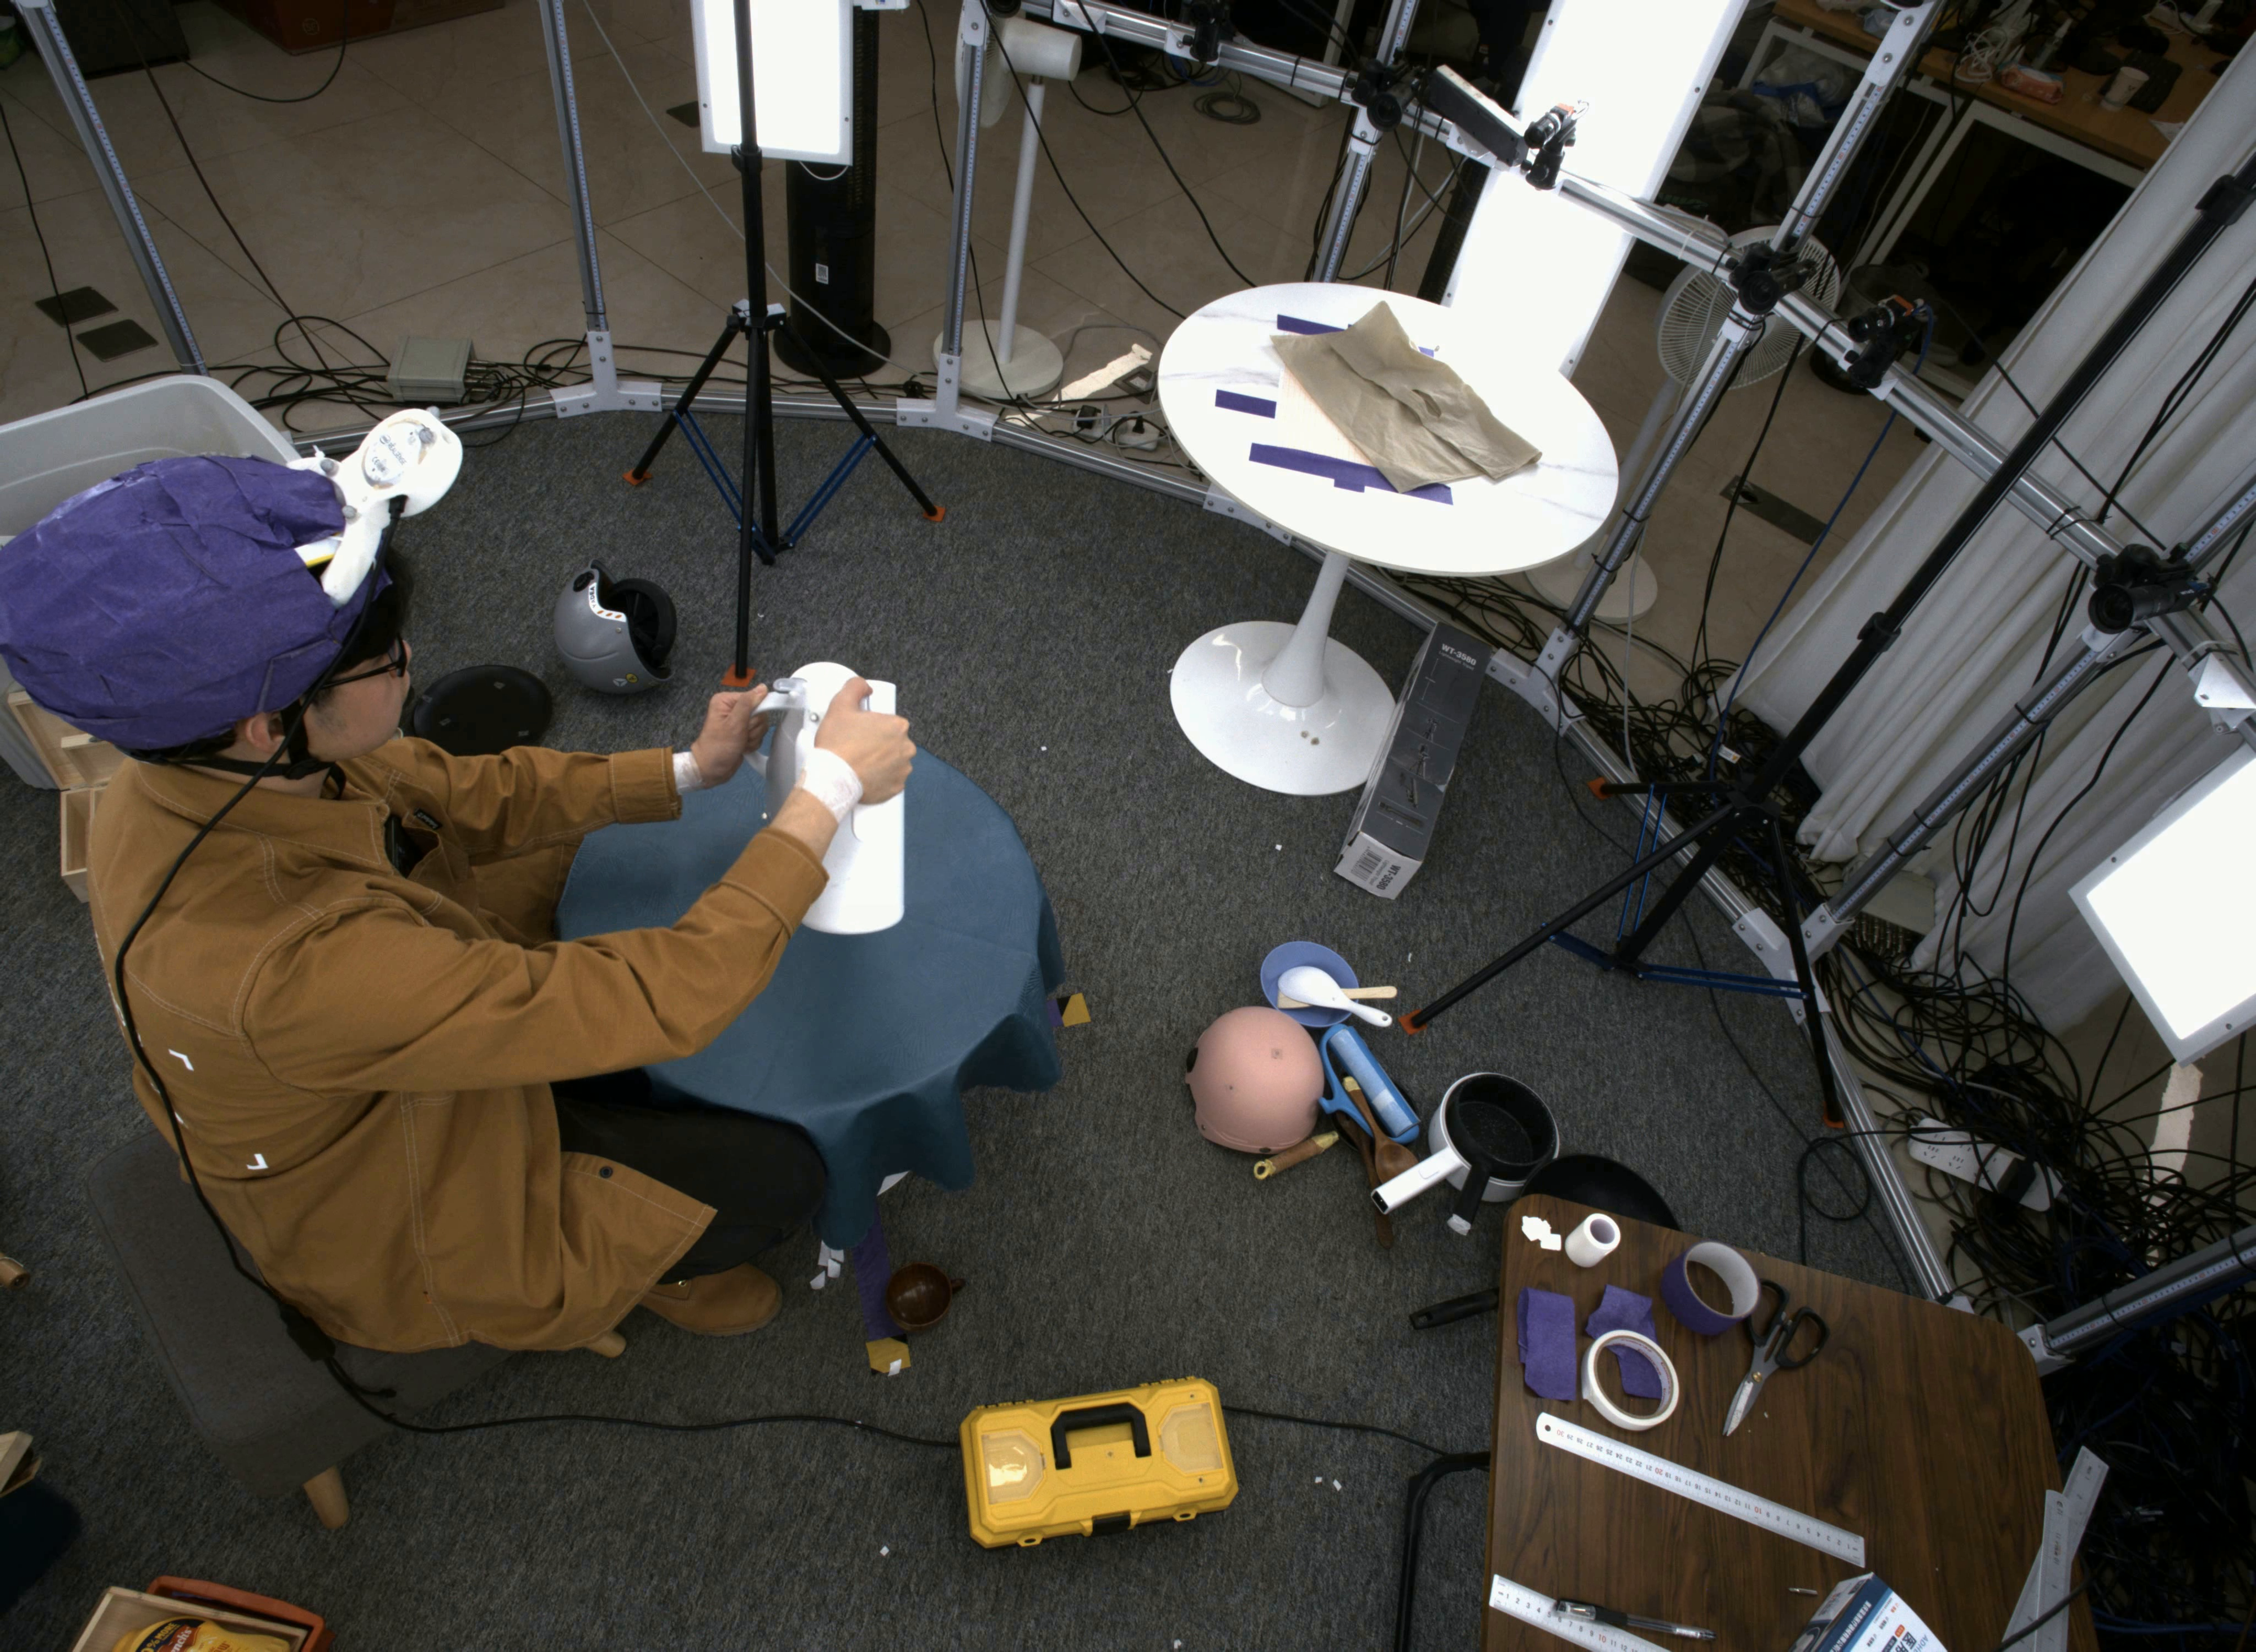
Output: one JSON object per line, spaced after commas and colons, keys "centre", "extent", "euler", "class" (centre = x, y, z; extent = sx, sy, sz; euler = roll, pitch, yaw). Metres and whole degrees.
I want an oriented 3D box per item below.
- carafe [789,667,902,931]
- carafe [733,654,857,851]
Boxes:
{"centre": [-0.297, -0.027, 1.388], "extent": [0.125, 0.275, 0.167], "euler": [-2, 14, -23], "class": "carafe"}
{"centre": [-0.398, -0.094, 1.588], "extent": [0.168, 0.253, 0.130], "euler": [4, 52, -12], "class": "carafe"}
